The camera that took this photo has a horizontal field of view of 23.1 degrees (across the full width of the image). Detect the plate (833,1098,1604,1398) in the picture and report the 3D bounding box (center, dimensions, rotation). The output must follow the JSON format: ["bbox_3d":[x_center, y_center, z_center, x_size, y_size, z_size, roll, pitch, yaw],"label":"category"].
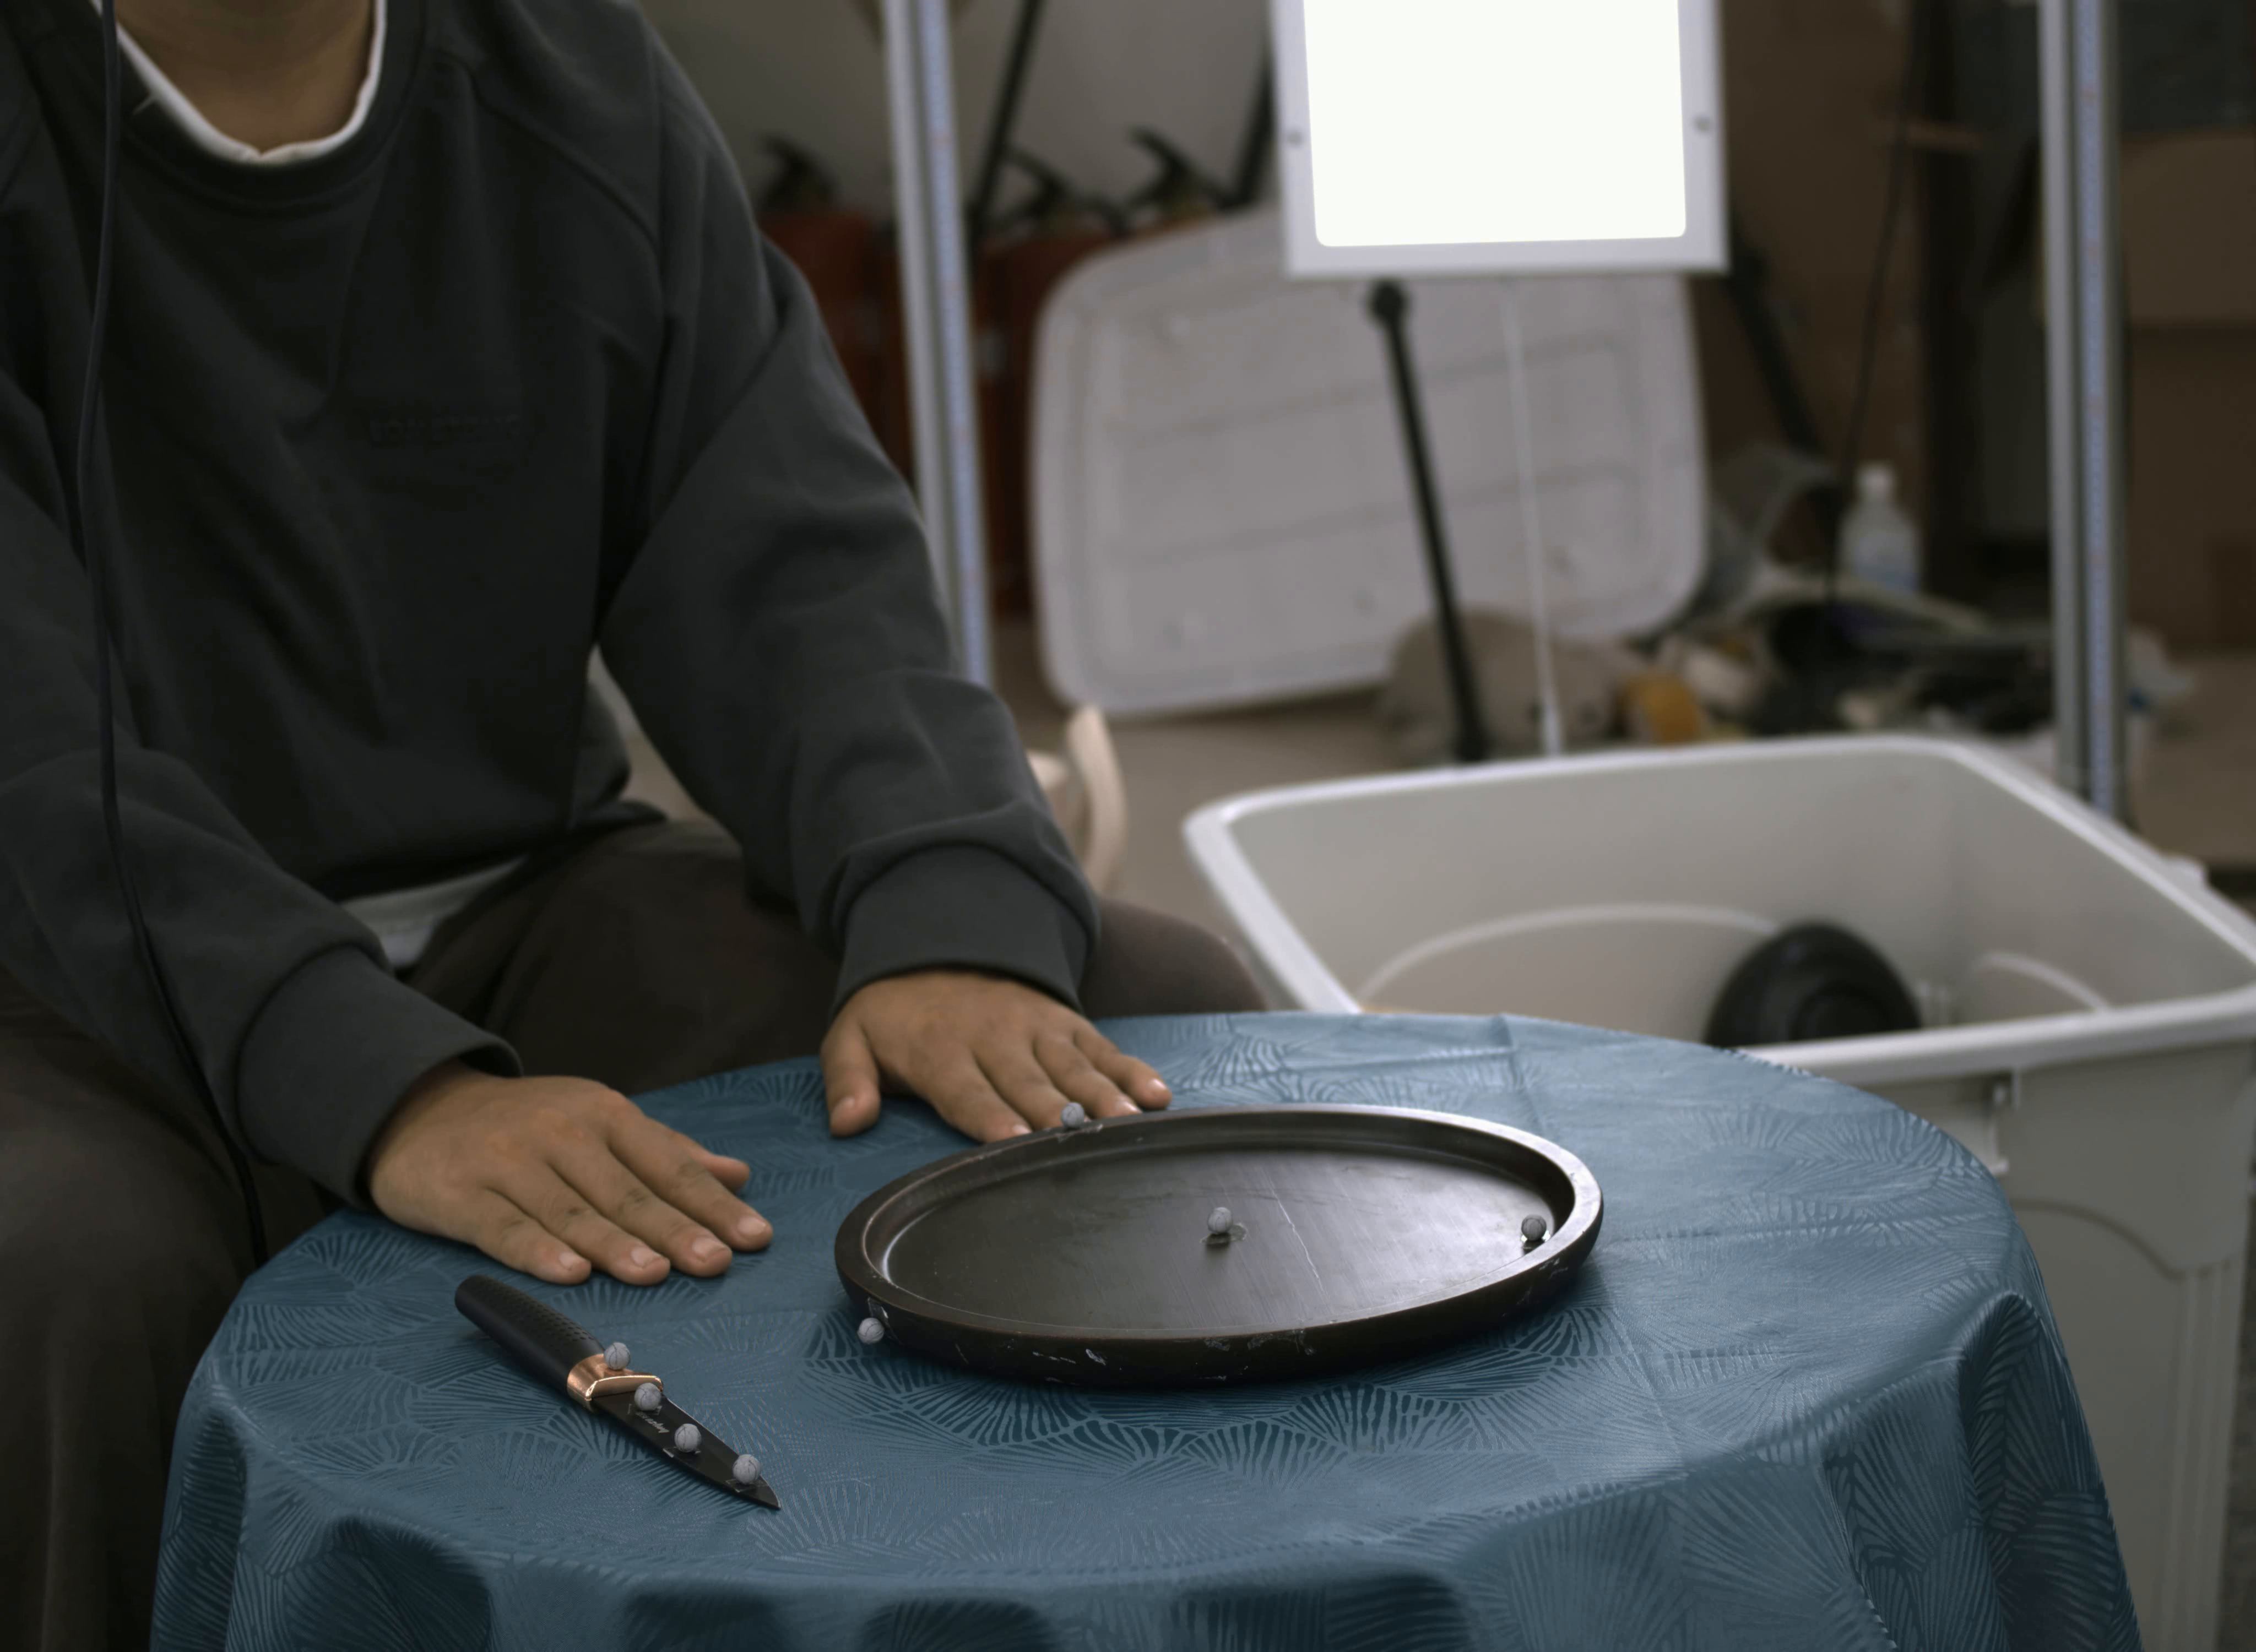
[{"bbox_3d":[0.030,0.136,1.801,0.254,0.029,0.254,-6,13,0],"label":"plate"}]

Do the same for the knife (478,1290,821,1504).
[{"bbox_3d":[-0.152,0.178,1.718,0.025,0.017,0.229,-6,13,-28],"label":"knife"}]
